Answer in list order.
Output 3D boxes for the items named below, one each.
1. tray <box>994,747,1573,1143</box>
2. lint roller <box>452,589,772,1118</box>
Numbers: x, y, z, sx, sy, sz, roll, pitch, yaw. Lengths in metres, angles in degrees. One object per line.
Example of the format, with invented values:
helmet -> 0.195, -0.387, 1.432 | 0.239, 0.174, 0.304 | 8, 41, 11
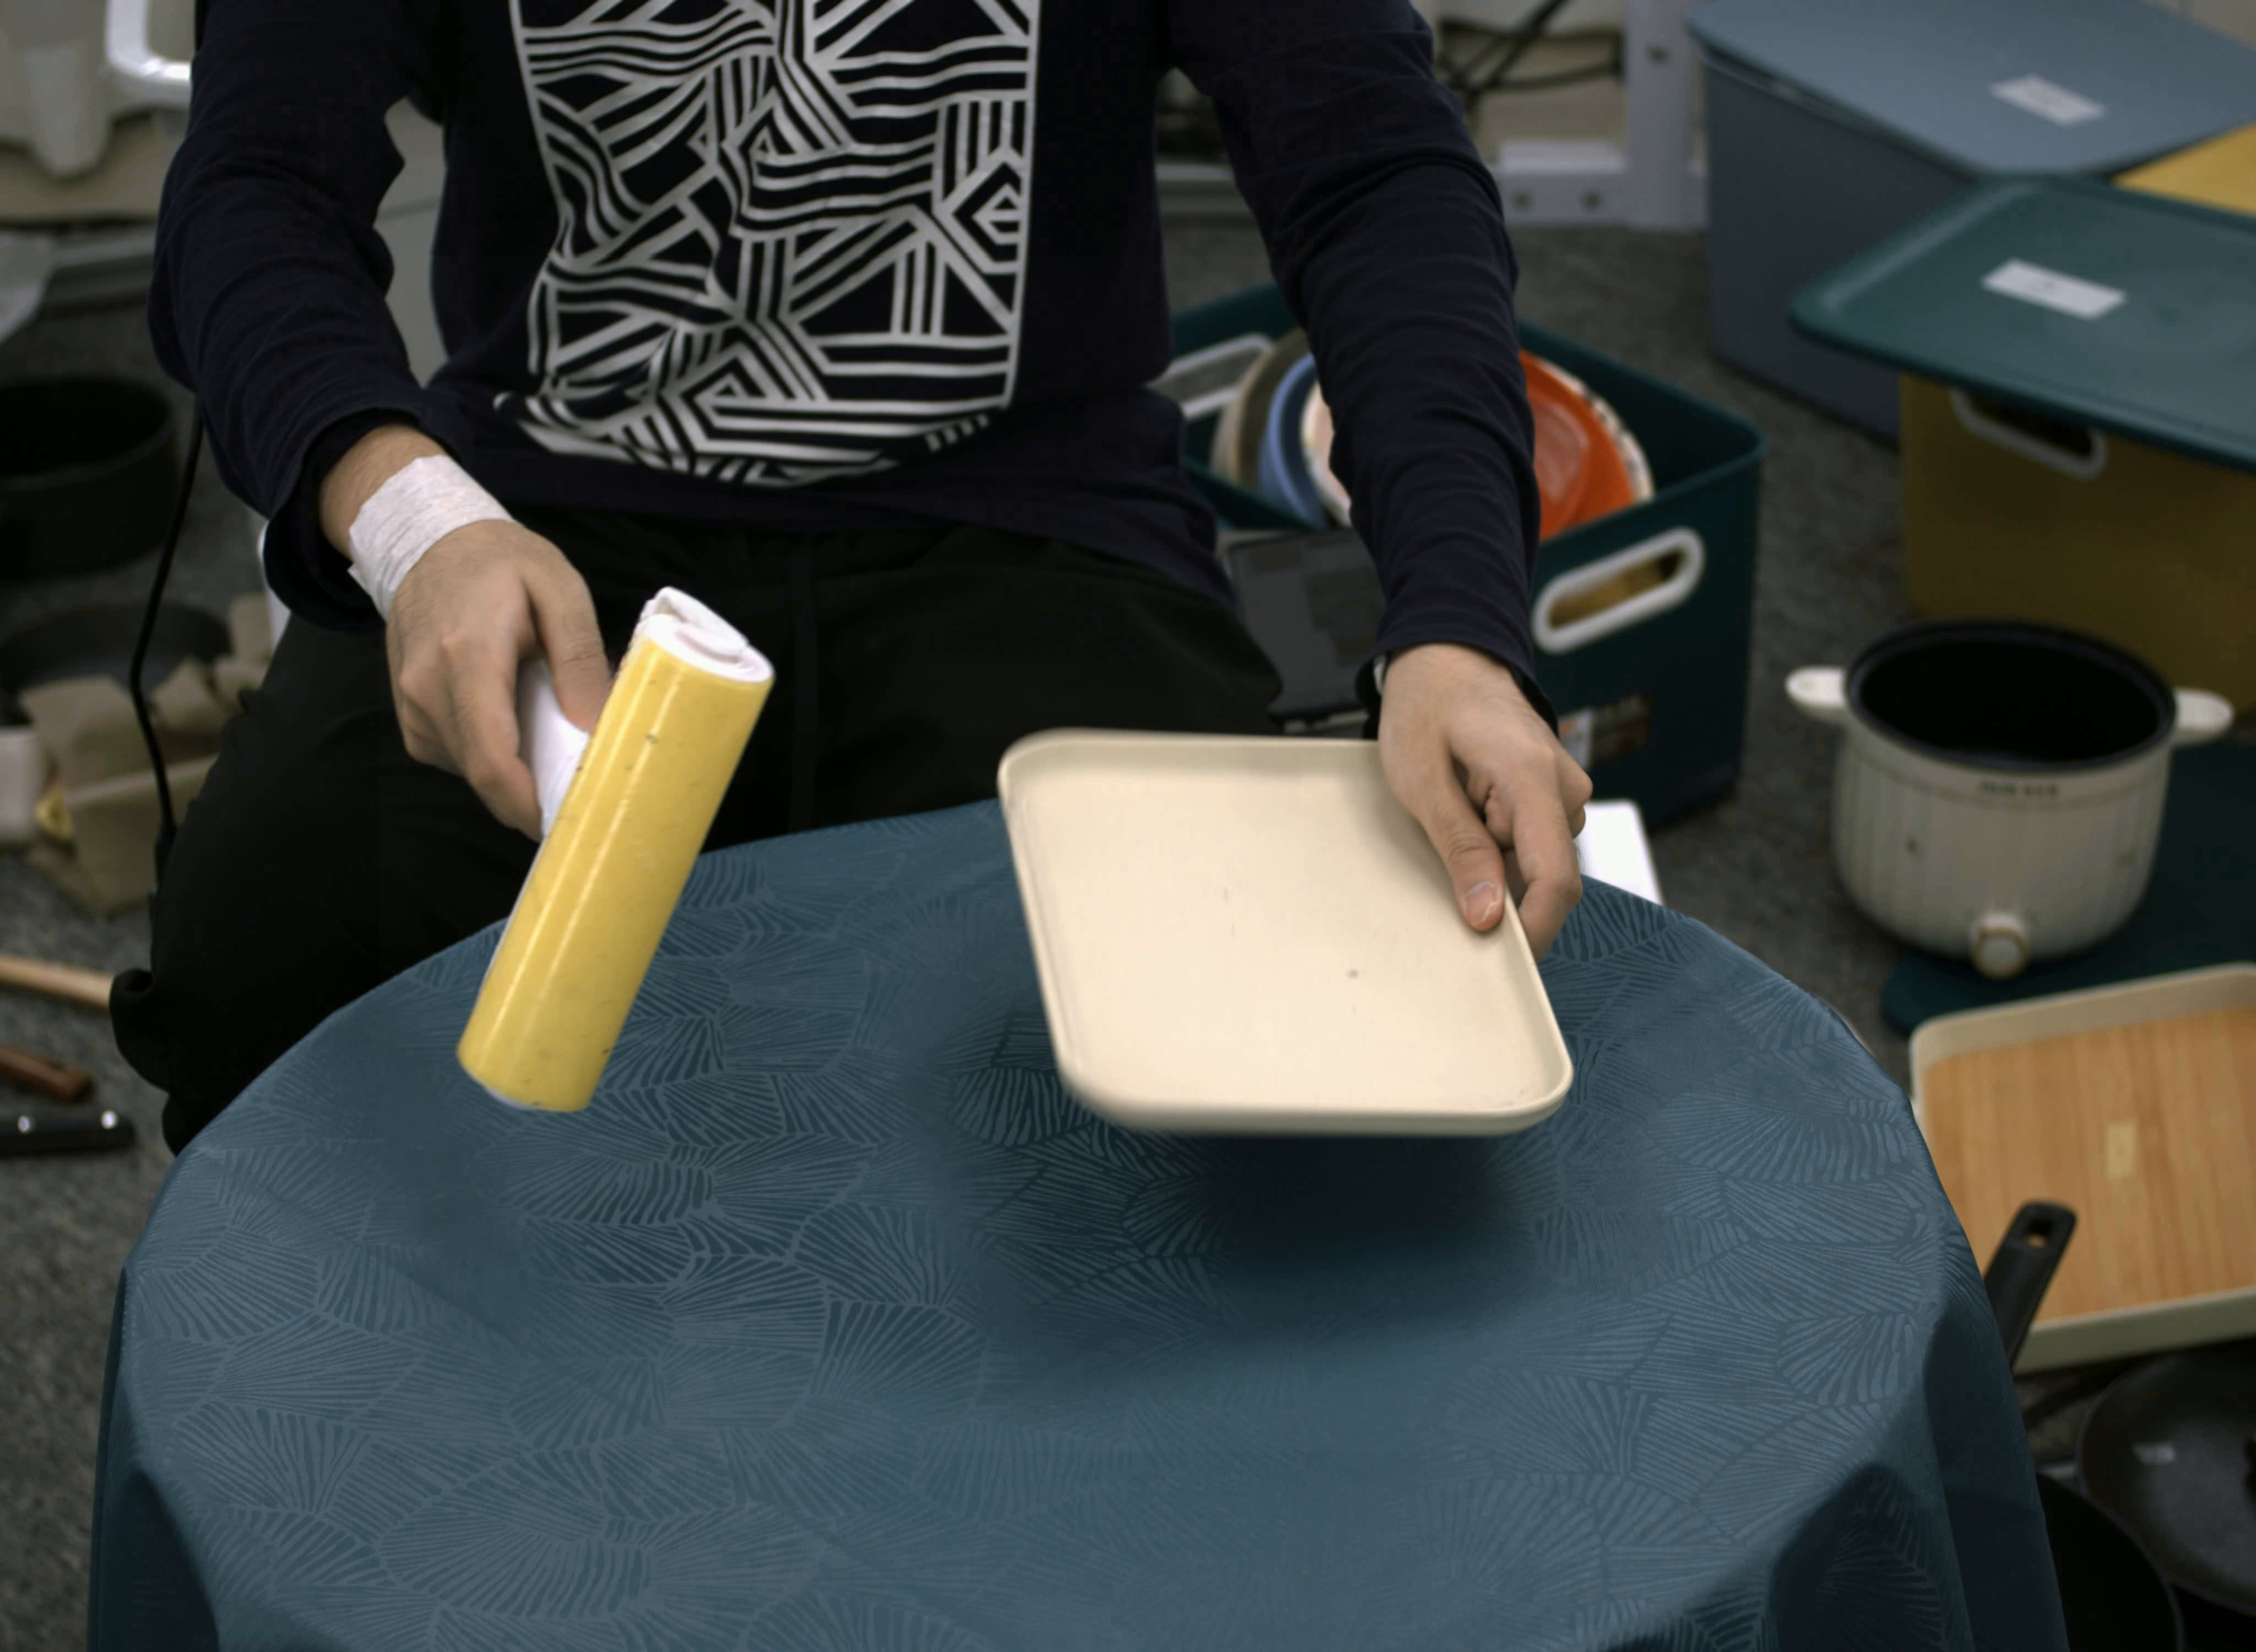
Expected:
tray -> 0.048, 0.039, 1.887 | 0.171, 0.017, 0.243 | 0, 30, -9
lint roller -> -0.198, -0.017, 1.872 | 0.051, 0.173, 0.193 | 15, 17, -35
